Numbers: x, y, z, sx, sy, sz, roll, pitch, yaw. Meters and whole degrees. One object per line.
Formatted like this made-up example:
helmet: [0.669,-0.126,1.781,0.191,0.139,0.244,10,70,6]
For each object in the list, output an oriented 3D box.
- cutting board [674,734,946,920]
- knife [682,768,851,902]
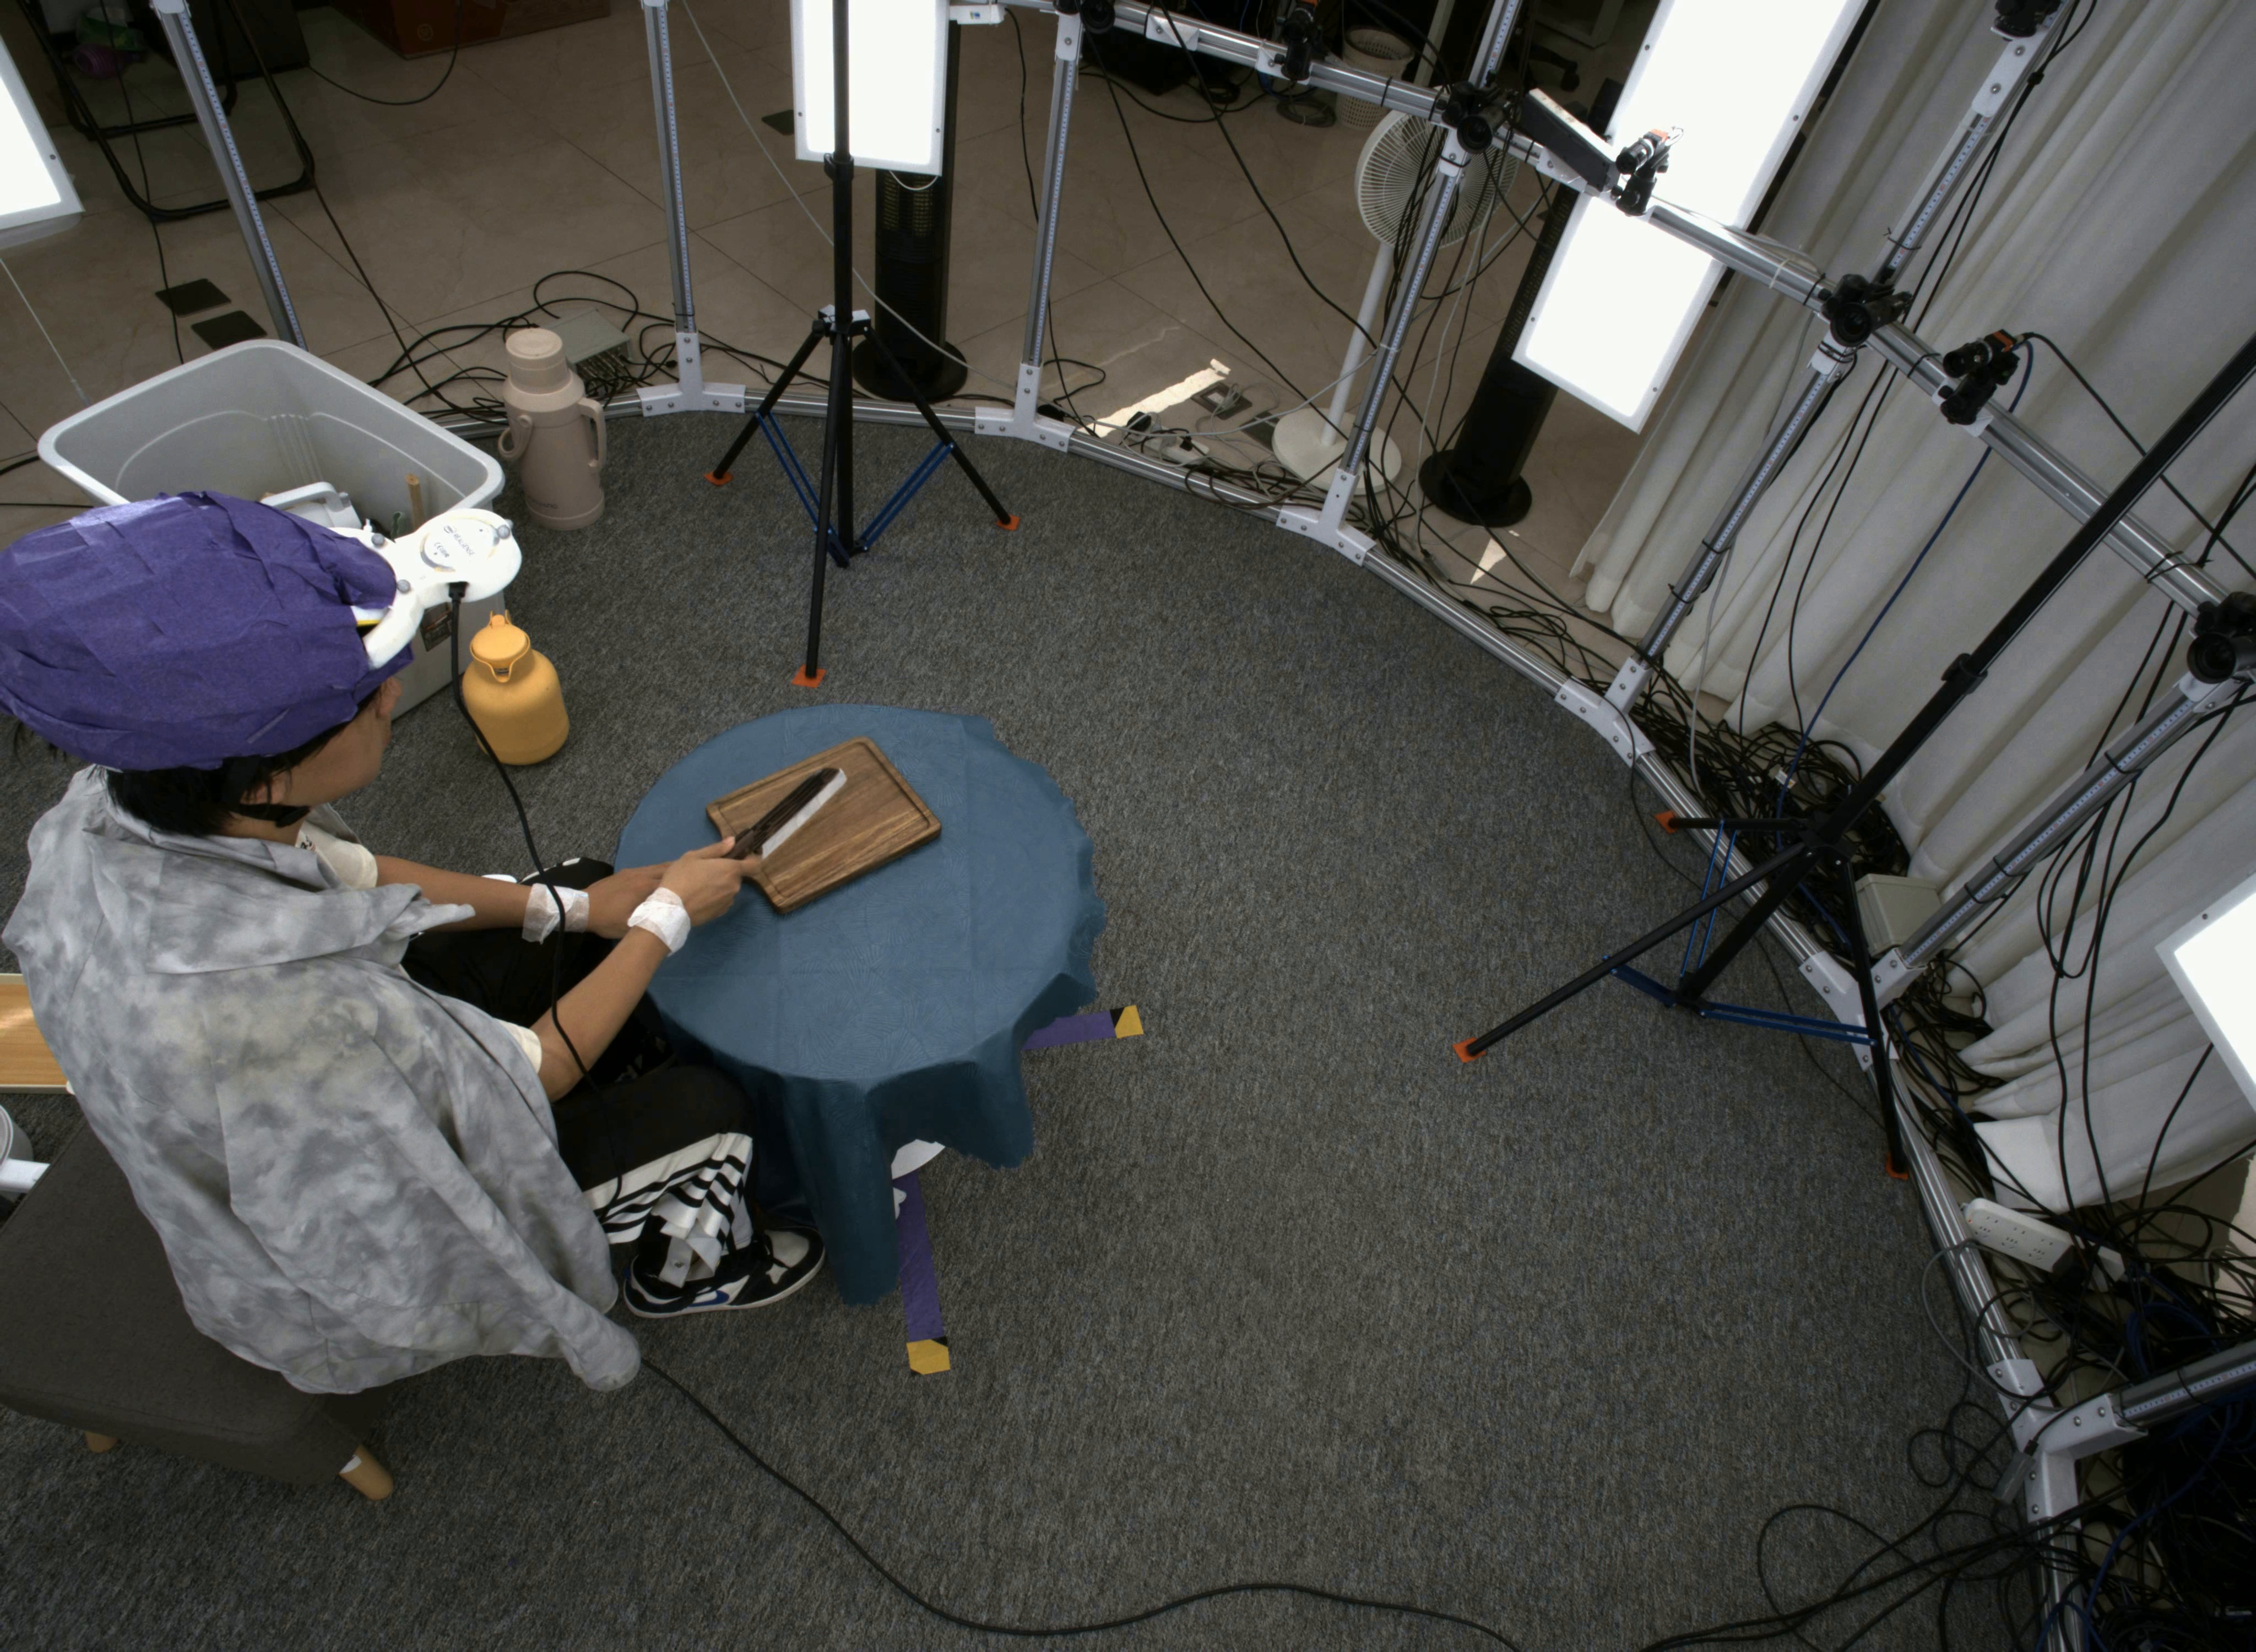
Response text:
cutting board: [-0.435,0.014,1.702,0.353,0.023,0.196,-30,67,-29]
knife: [-0.449,0.010,1.636,0.023,0.070,0.299,27,50,18]
